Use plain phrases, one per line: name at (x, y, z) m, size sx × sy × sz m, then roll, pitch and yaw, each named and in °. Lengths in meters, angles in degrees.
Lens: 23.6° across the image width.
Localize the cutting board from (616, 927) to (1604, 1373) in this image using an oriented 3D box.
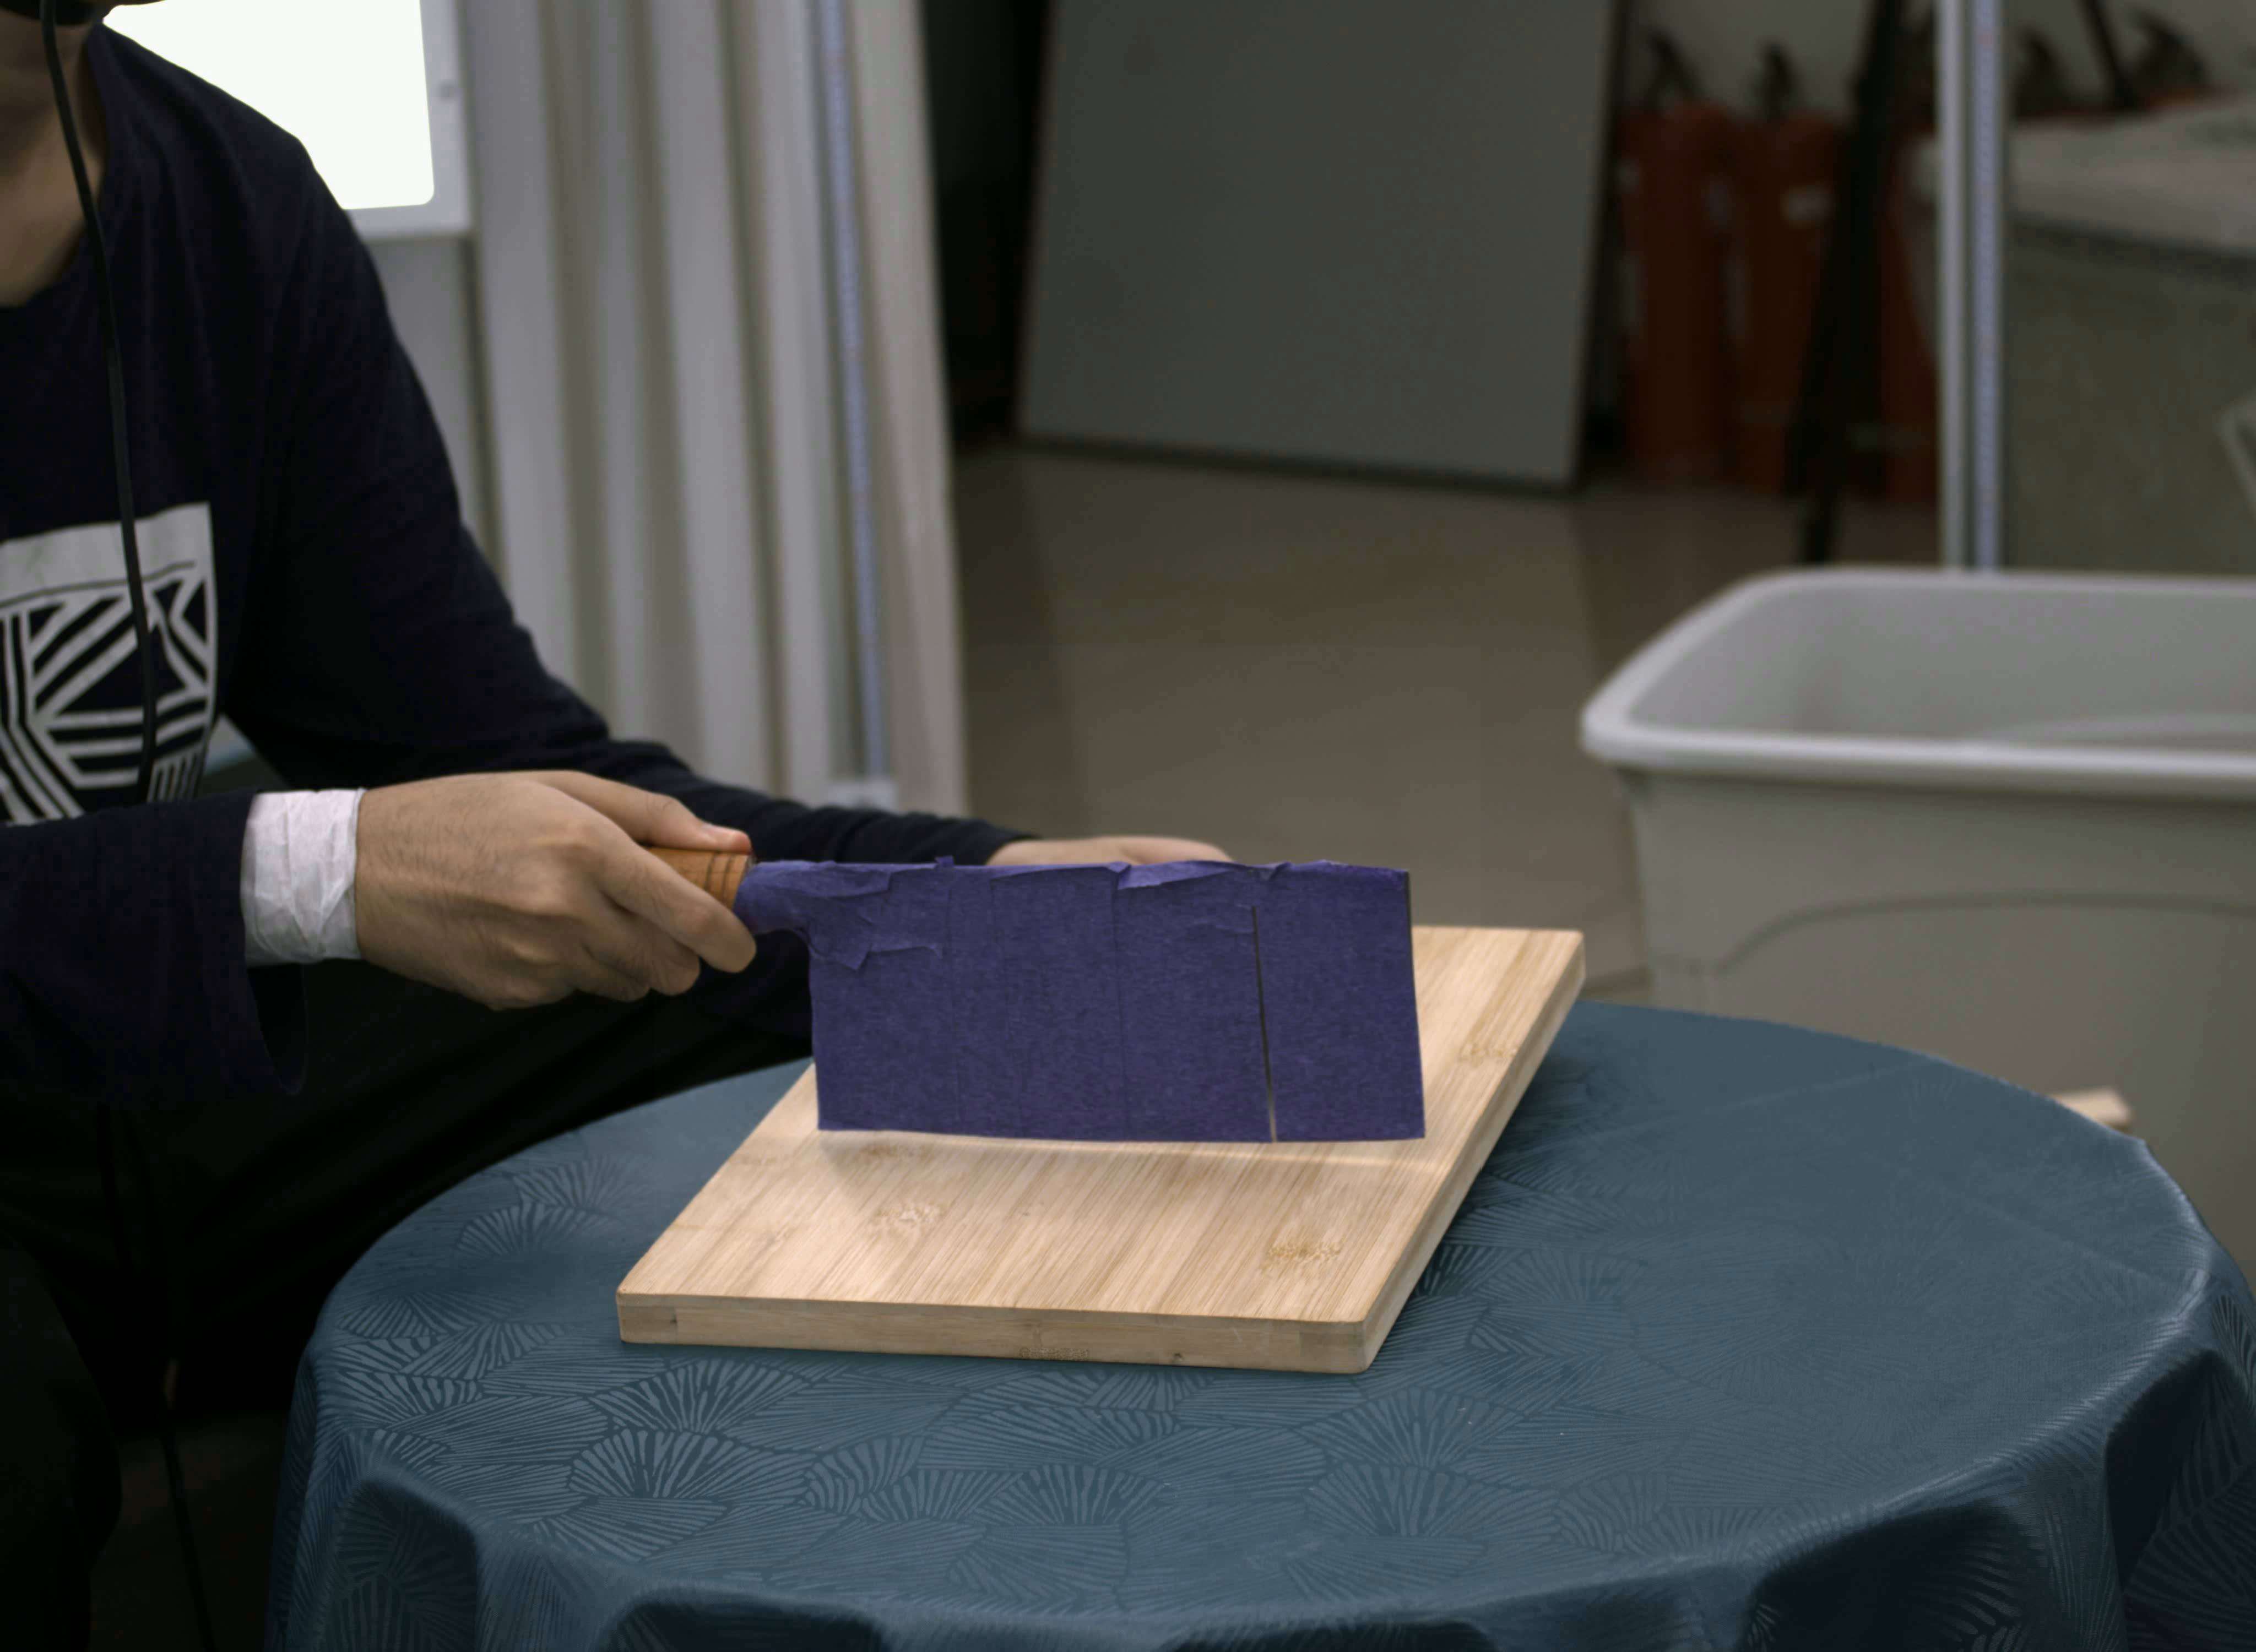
cutting board at (0.004, 0.098, 1.777) m, size 0.250 × 0.024 × 0.346 m, roll 0°, pitch 19°, yaw 17°

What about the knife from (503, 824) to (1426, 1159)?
knife at (-0.056, 0.055, 1.734) m, size 0.315 × 0.105 × 0.032 m, roll -1°, pitch 7°, yaw 23°
